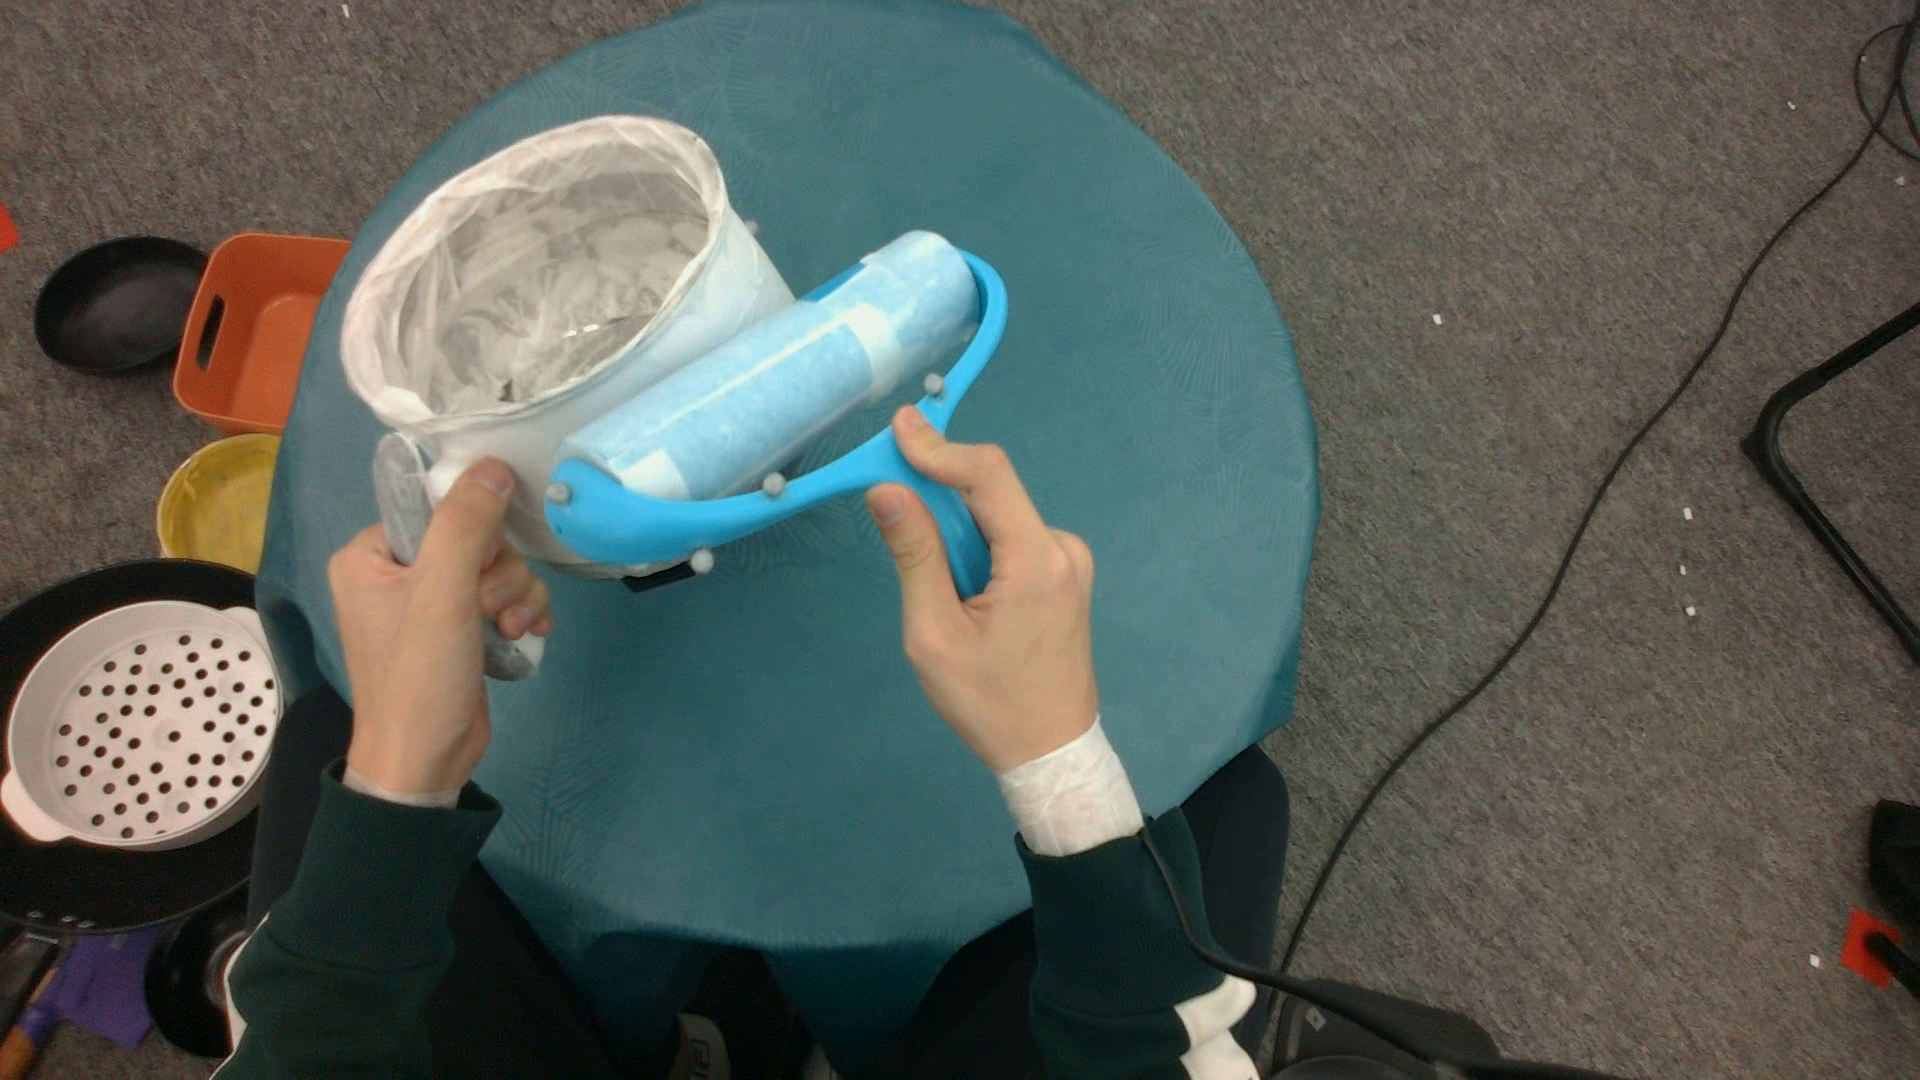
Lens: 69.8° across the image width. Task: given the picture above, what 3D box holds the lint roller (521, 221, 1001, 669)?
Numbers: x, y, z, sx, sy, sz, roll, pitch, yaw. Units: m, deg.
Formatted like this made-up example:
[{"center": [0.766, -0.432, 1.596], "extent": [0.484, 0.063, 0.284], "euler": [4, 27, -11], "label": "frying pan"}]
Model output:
[{"center": [-0.040, -0.026, 0.559], "extent": [0.180, 0.067, 0.230], "euler": [42, 51, 1], "label": "lint roller"}]

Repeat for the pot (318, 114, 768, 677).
[{"center": [-0.181, -0.061, 0.611], "extent": [0.178, 0.136, 0.235], "euler": [7, 58, 25], "label": "pot"}]
